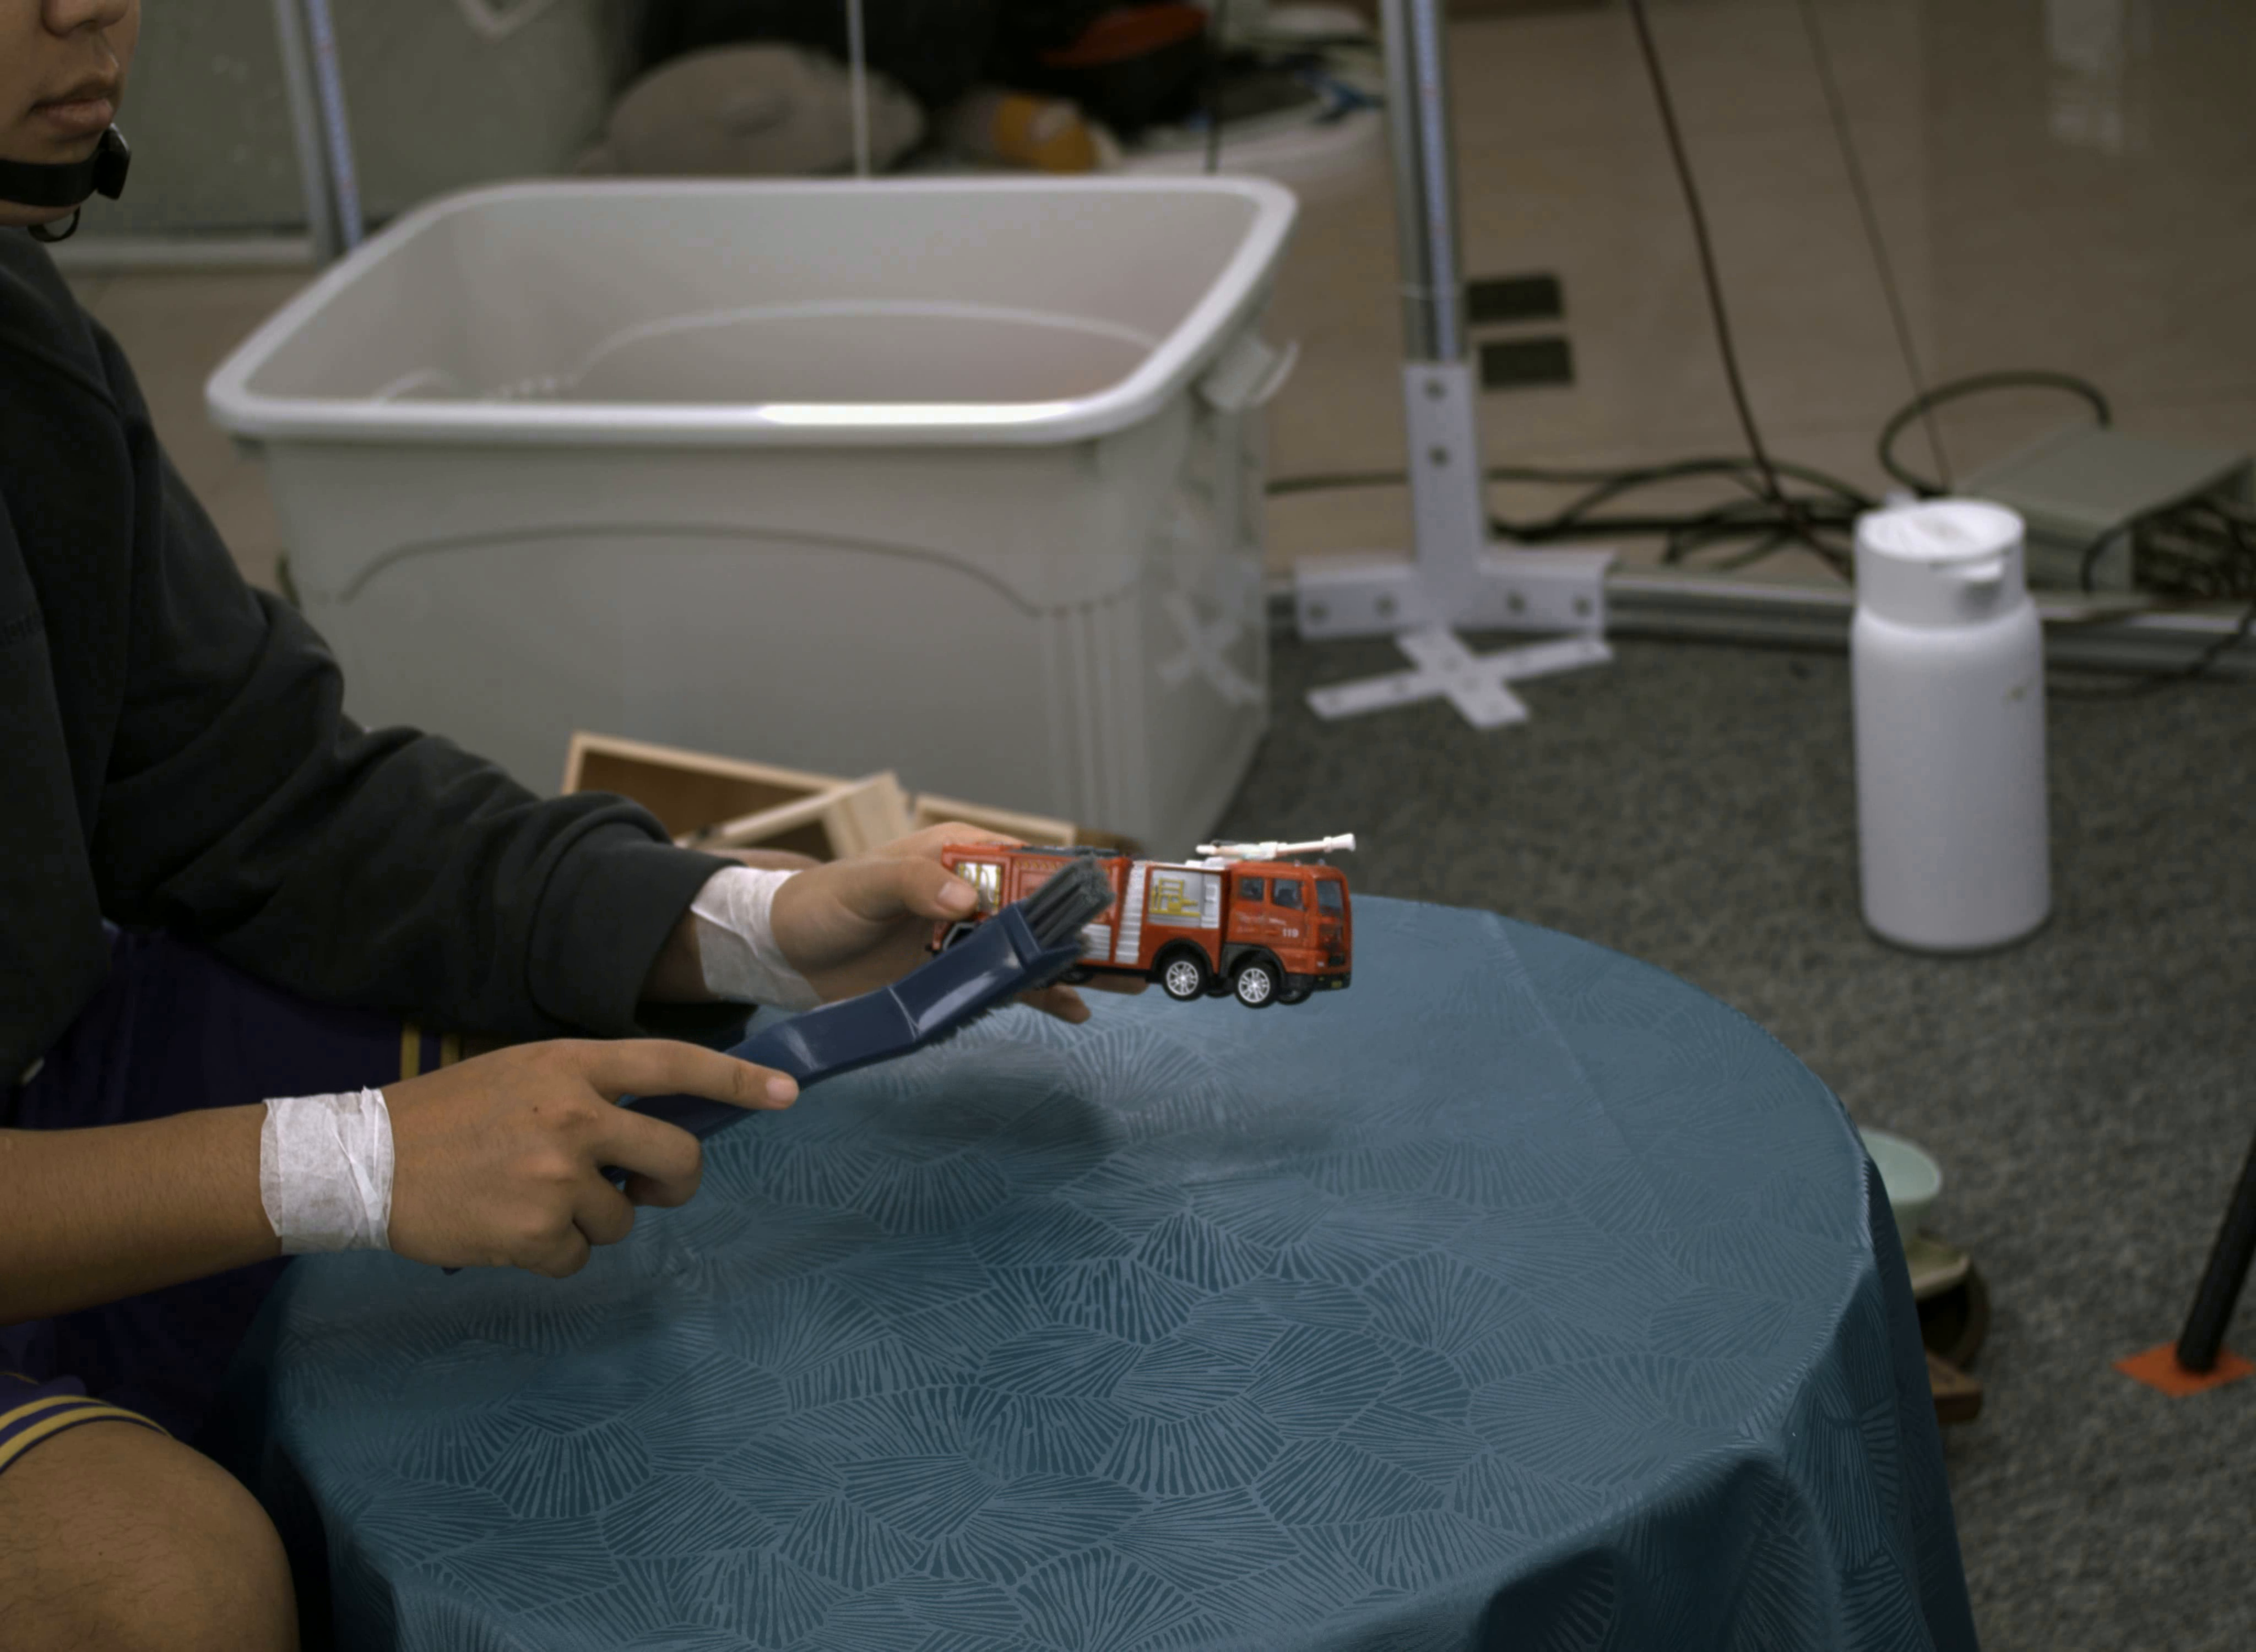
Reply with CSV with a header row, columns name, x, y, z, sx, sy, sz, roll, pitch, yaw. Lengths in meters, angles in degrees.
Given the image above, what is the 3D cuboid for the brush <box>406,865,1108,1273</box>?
name,x,y,z,sx,sy,sz,roll,pitch,yaw
brush,-0.137,0.087,2.093,0.272,0.033,0.097,-24,-15,-12

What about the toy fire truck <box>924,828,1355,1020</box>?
name,x,y,z,sx,sy,sz,roll,pitch,yaw
toy fire truck,0.006,0.035,2.173,0.167,0.070,0.054,4,2,22
